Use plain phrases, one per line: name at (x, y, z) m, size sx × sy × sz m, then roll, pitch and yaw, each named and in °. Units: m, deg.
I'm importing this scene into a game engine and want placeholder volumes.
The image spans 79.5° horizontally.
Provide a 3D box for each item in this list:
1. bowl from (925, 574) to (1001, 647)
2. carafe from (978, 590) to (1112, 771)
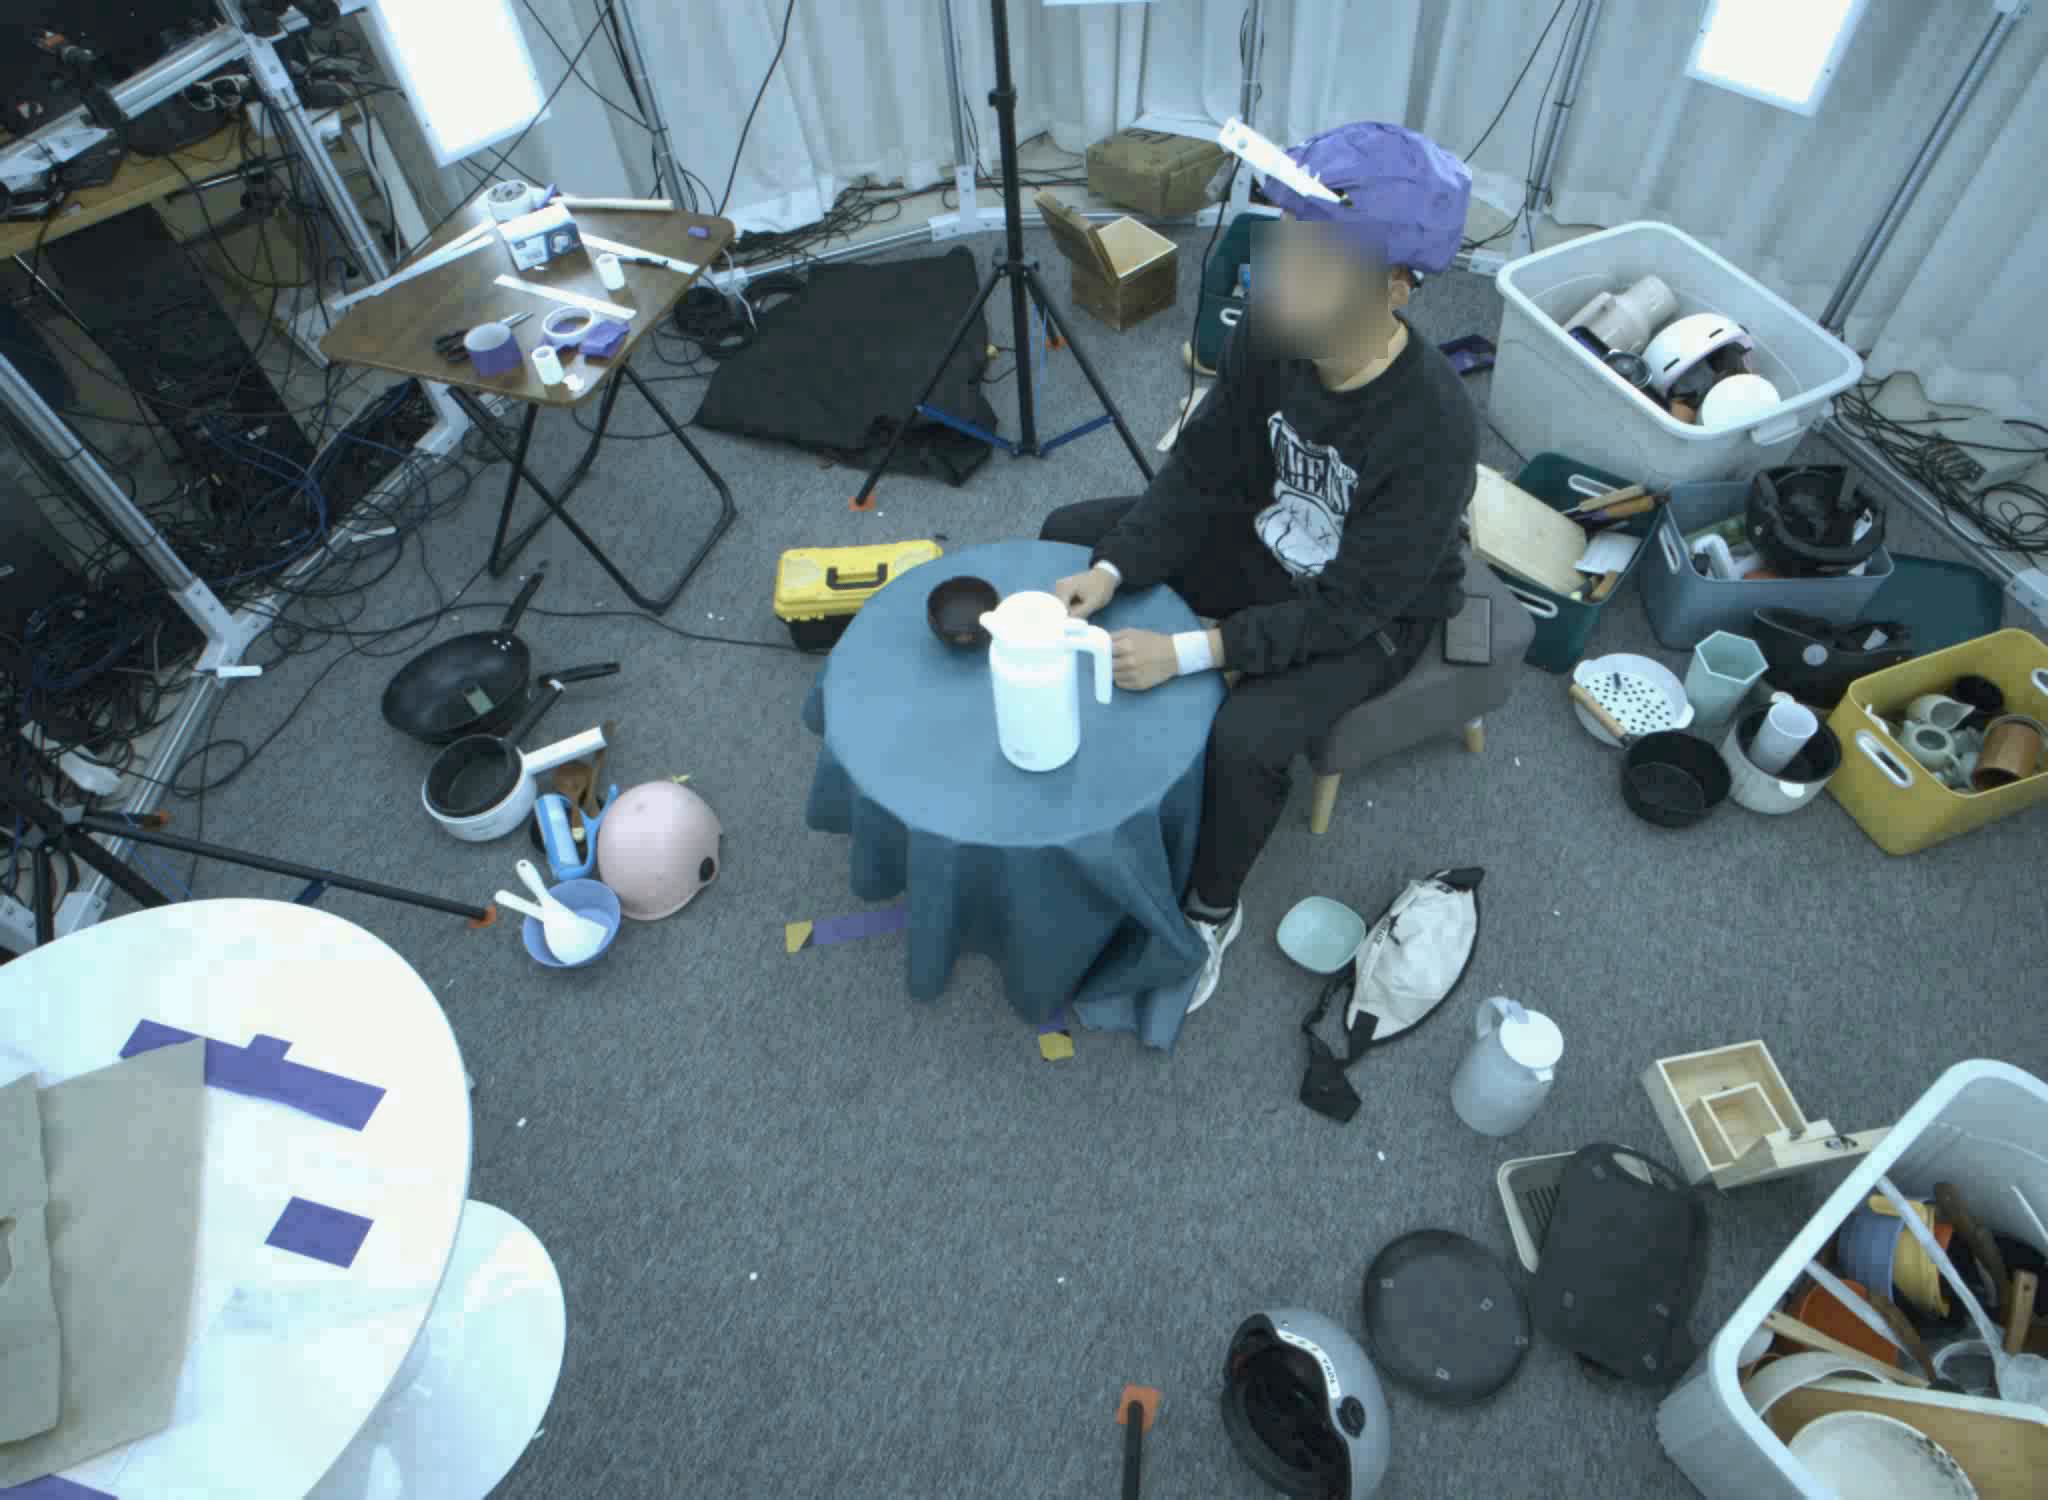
bowl at (-0.092, -0.207, 1.888) m, size 0.118 × 0.070 × 0.117 m, roll 0°, pitch 54°, yaw 2°
carafe at (0.033, -0.090, 1.681) m, size 0.172 × 0.272 × 0.123 m, roll 5°, pitch 53°, yaw 8°
